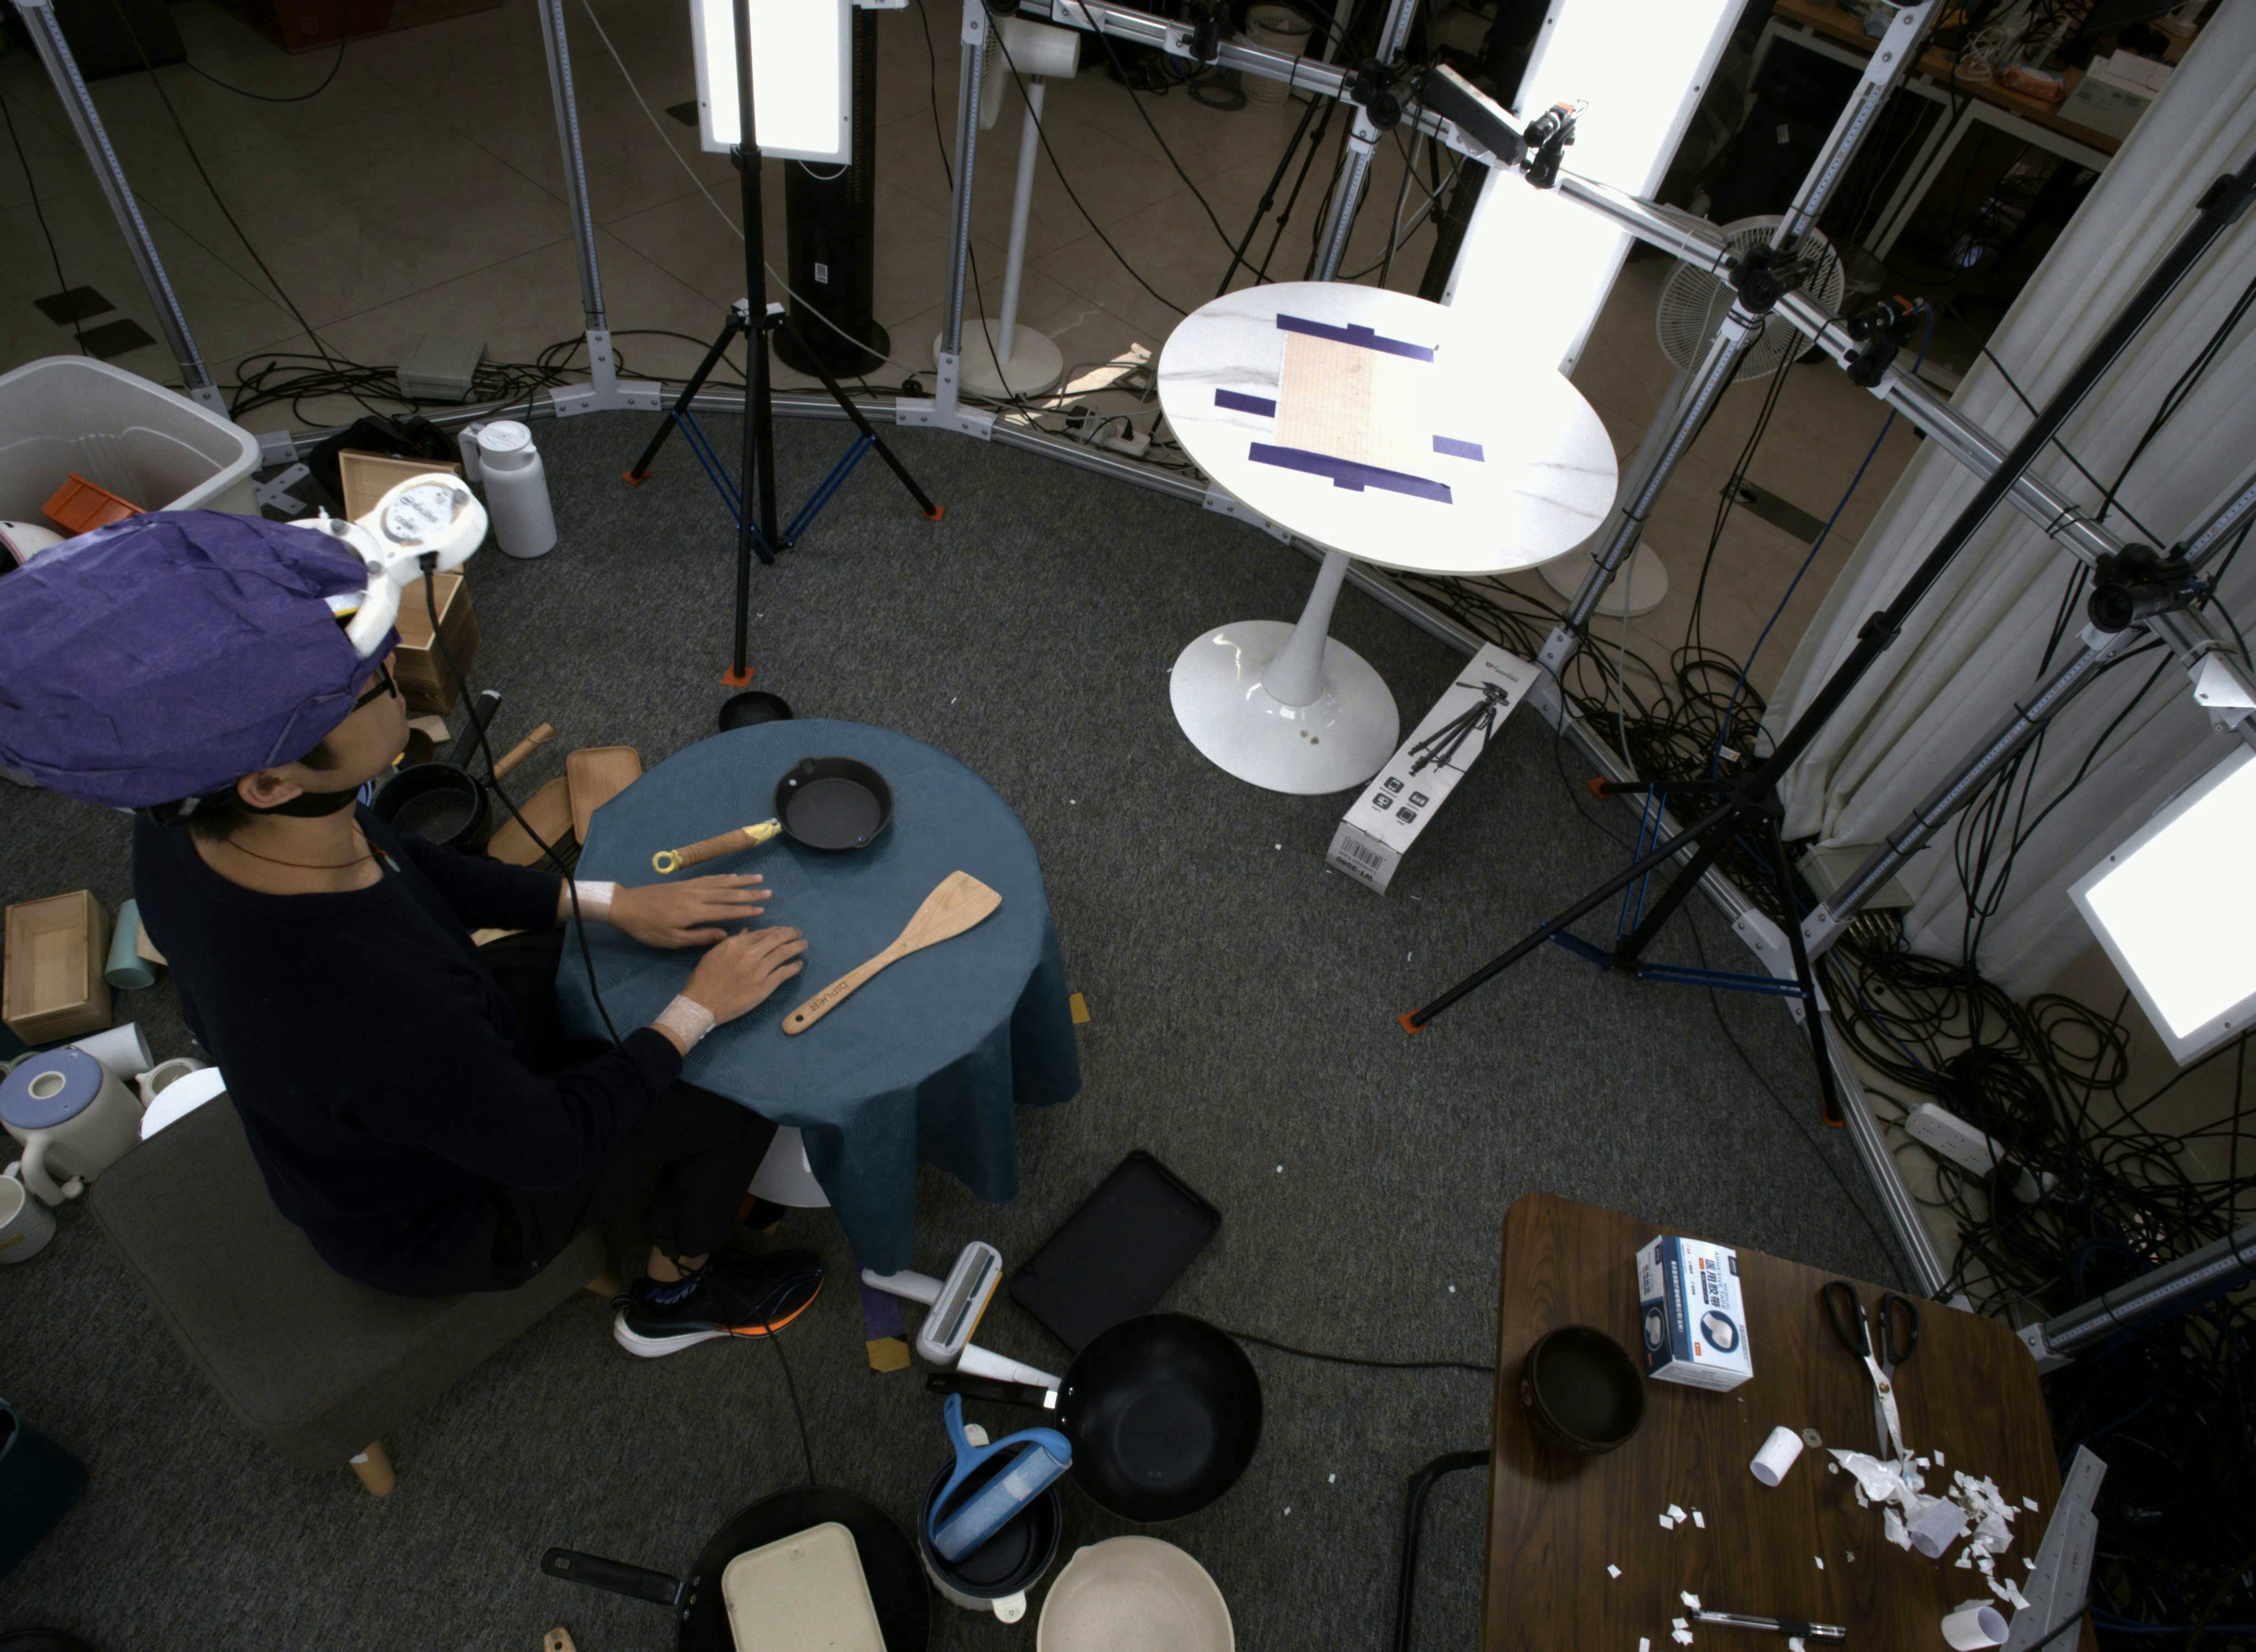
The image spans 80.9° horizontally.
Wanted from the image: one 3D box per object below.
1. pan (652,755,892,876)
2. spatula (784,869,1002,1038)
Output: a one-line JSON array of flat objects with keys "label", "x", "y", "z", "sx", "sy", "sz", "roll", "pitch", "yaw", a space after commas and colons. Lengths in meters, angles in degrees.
[{"label": "pan", "x": -0.459, "y": 0.000, "z": 1.672, "sx": 0.326, "sy": 0.050, "sz": 0.165, "roll": -23, "pitch": 62, "yaw": -30}, {"label": "spatula", "x": -0.297, "y": 0.156, "z": 1.620, "sx": 0.078, "sy": 0.017, "sz": 0.328, "roll": 40, "pitch": 54, "yaw": 17}]
